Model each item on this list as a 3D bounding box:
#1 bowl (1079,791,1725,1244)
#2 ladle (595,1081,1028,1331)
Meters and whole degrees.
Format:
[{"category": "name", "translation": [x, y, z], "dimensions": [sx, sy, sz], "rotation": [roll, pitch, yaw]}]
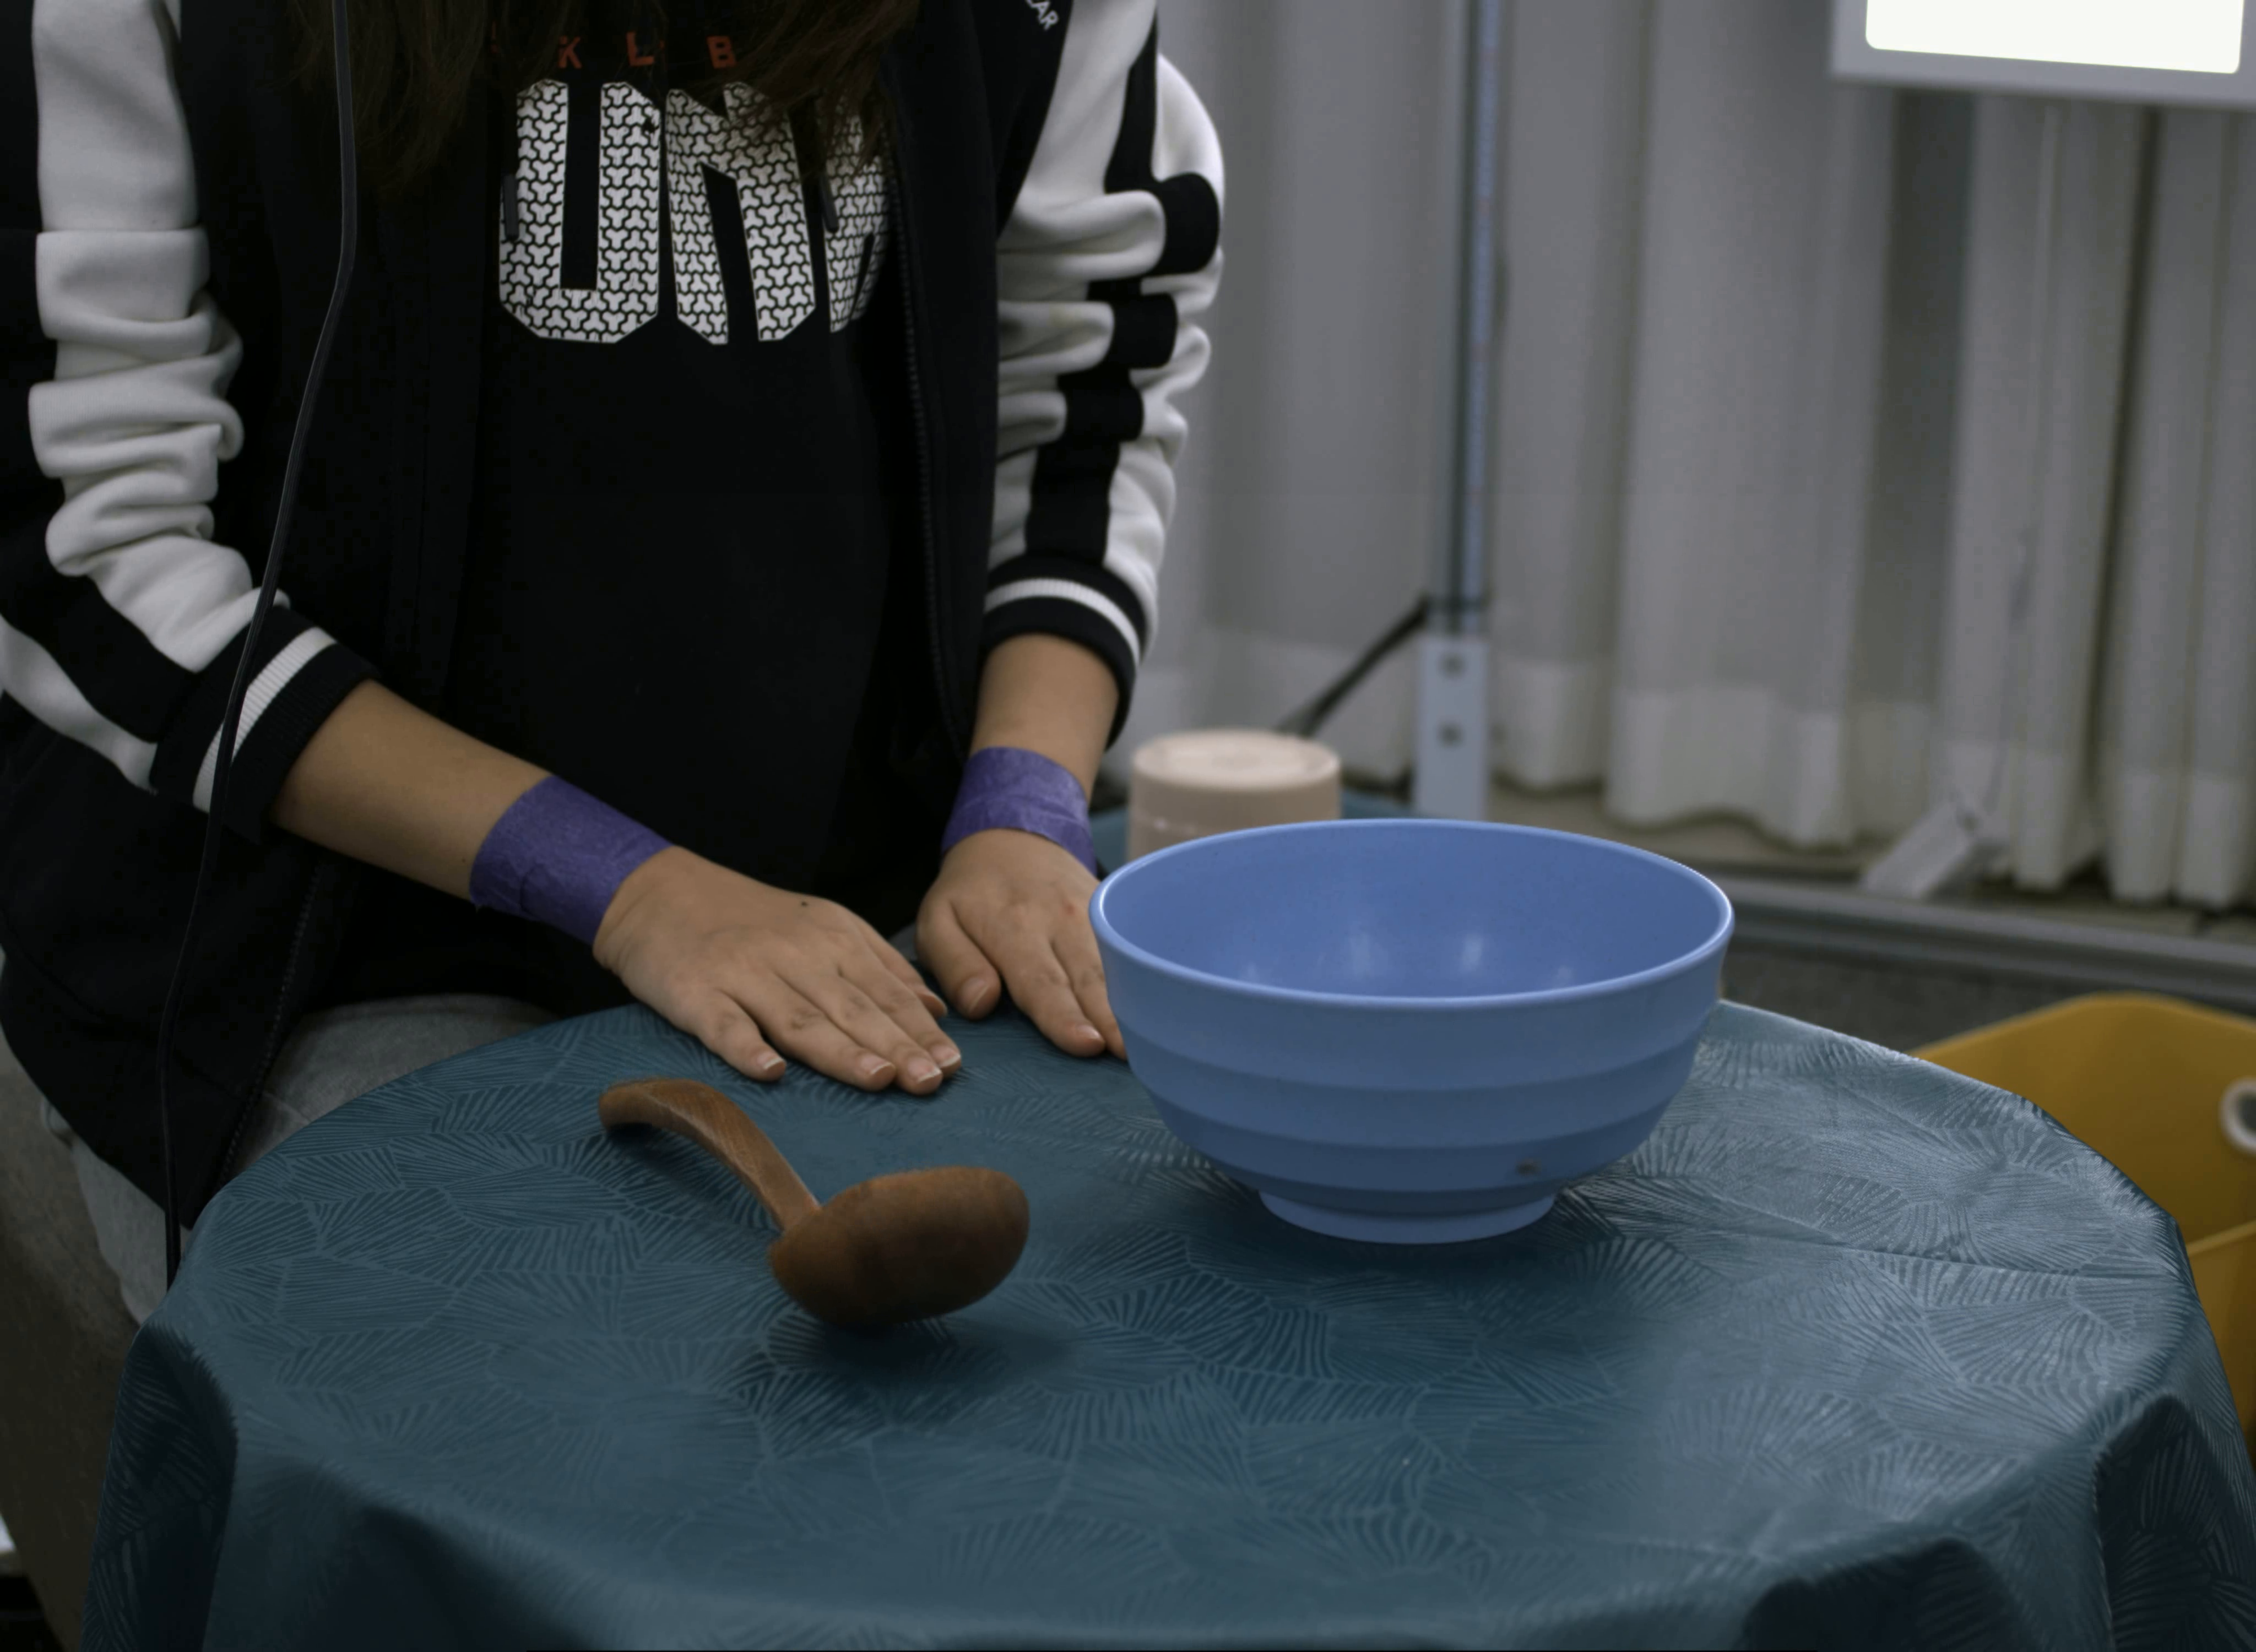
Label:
[{"category": "bowl", "translation": [0.085, 0.066, 1.615], "dimensions": [0.196, 0.096, 0.195], "rotation": [-2, 21, 1]}, {"category": "ladle", "translation": [-0.105, 0.095, 1.562], "dimensions": [0.077, 0.065, 0.257], "rotation": [-1, 14, -26]}]
